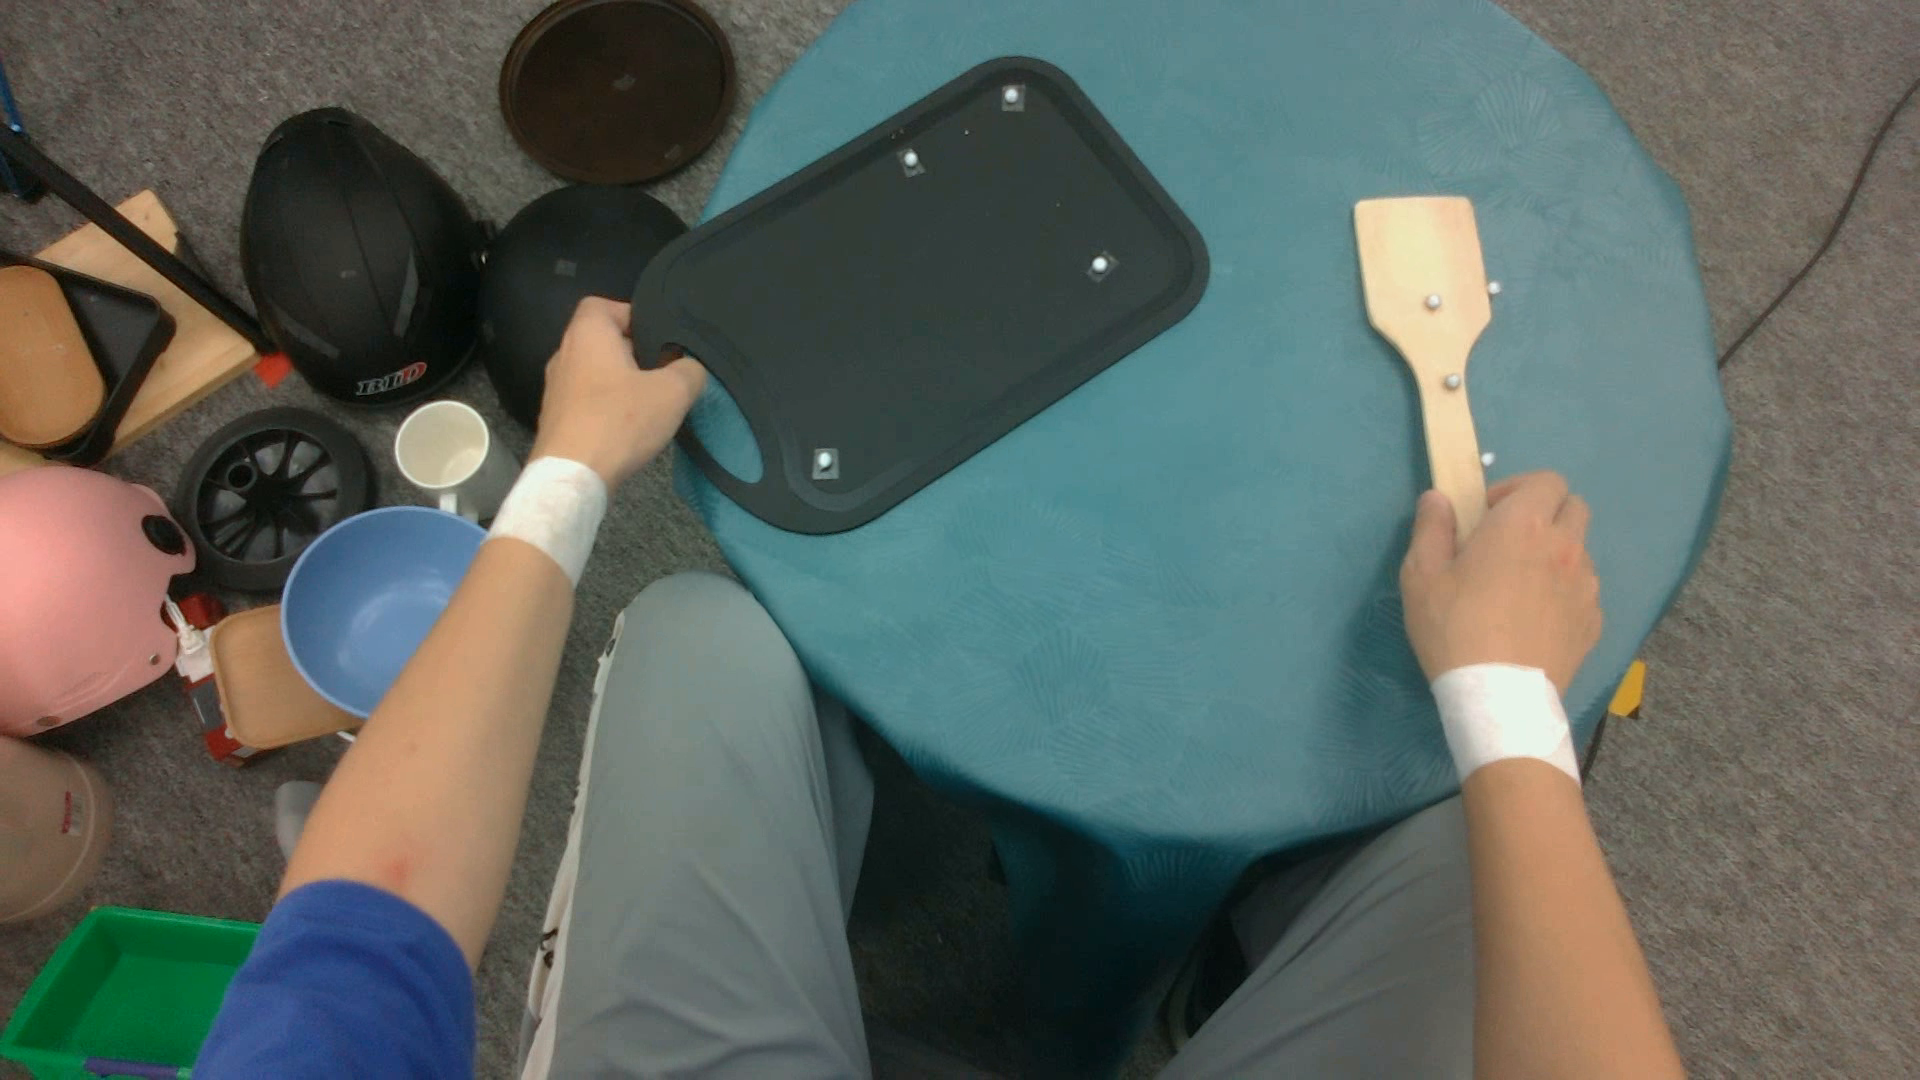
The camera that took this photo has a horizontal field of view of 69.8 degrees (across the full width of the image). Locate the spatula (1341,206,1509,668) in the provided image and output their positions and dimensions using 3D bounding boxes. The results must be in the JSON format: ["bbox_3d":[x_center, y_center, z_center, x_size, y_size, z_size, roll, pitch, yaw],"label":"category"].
[{"bbox_3d":[0.270,-0.067,0.775,0.072,0.010,0.294,-2,66,1],"label":"spatula"}]

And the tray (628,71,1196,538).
[{"bbox_3d":[-0.033,-0.143,0.815,0.326,0.010,0.211,-33,75,-11],"label":"tray"}]
